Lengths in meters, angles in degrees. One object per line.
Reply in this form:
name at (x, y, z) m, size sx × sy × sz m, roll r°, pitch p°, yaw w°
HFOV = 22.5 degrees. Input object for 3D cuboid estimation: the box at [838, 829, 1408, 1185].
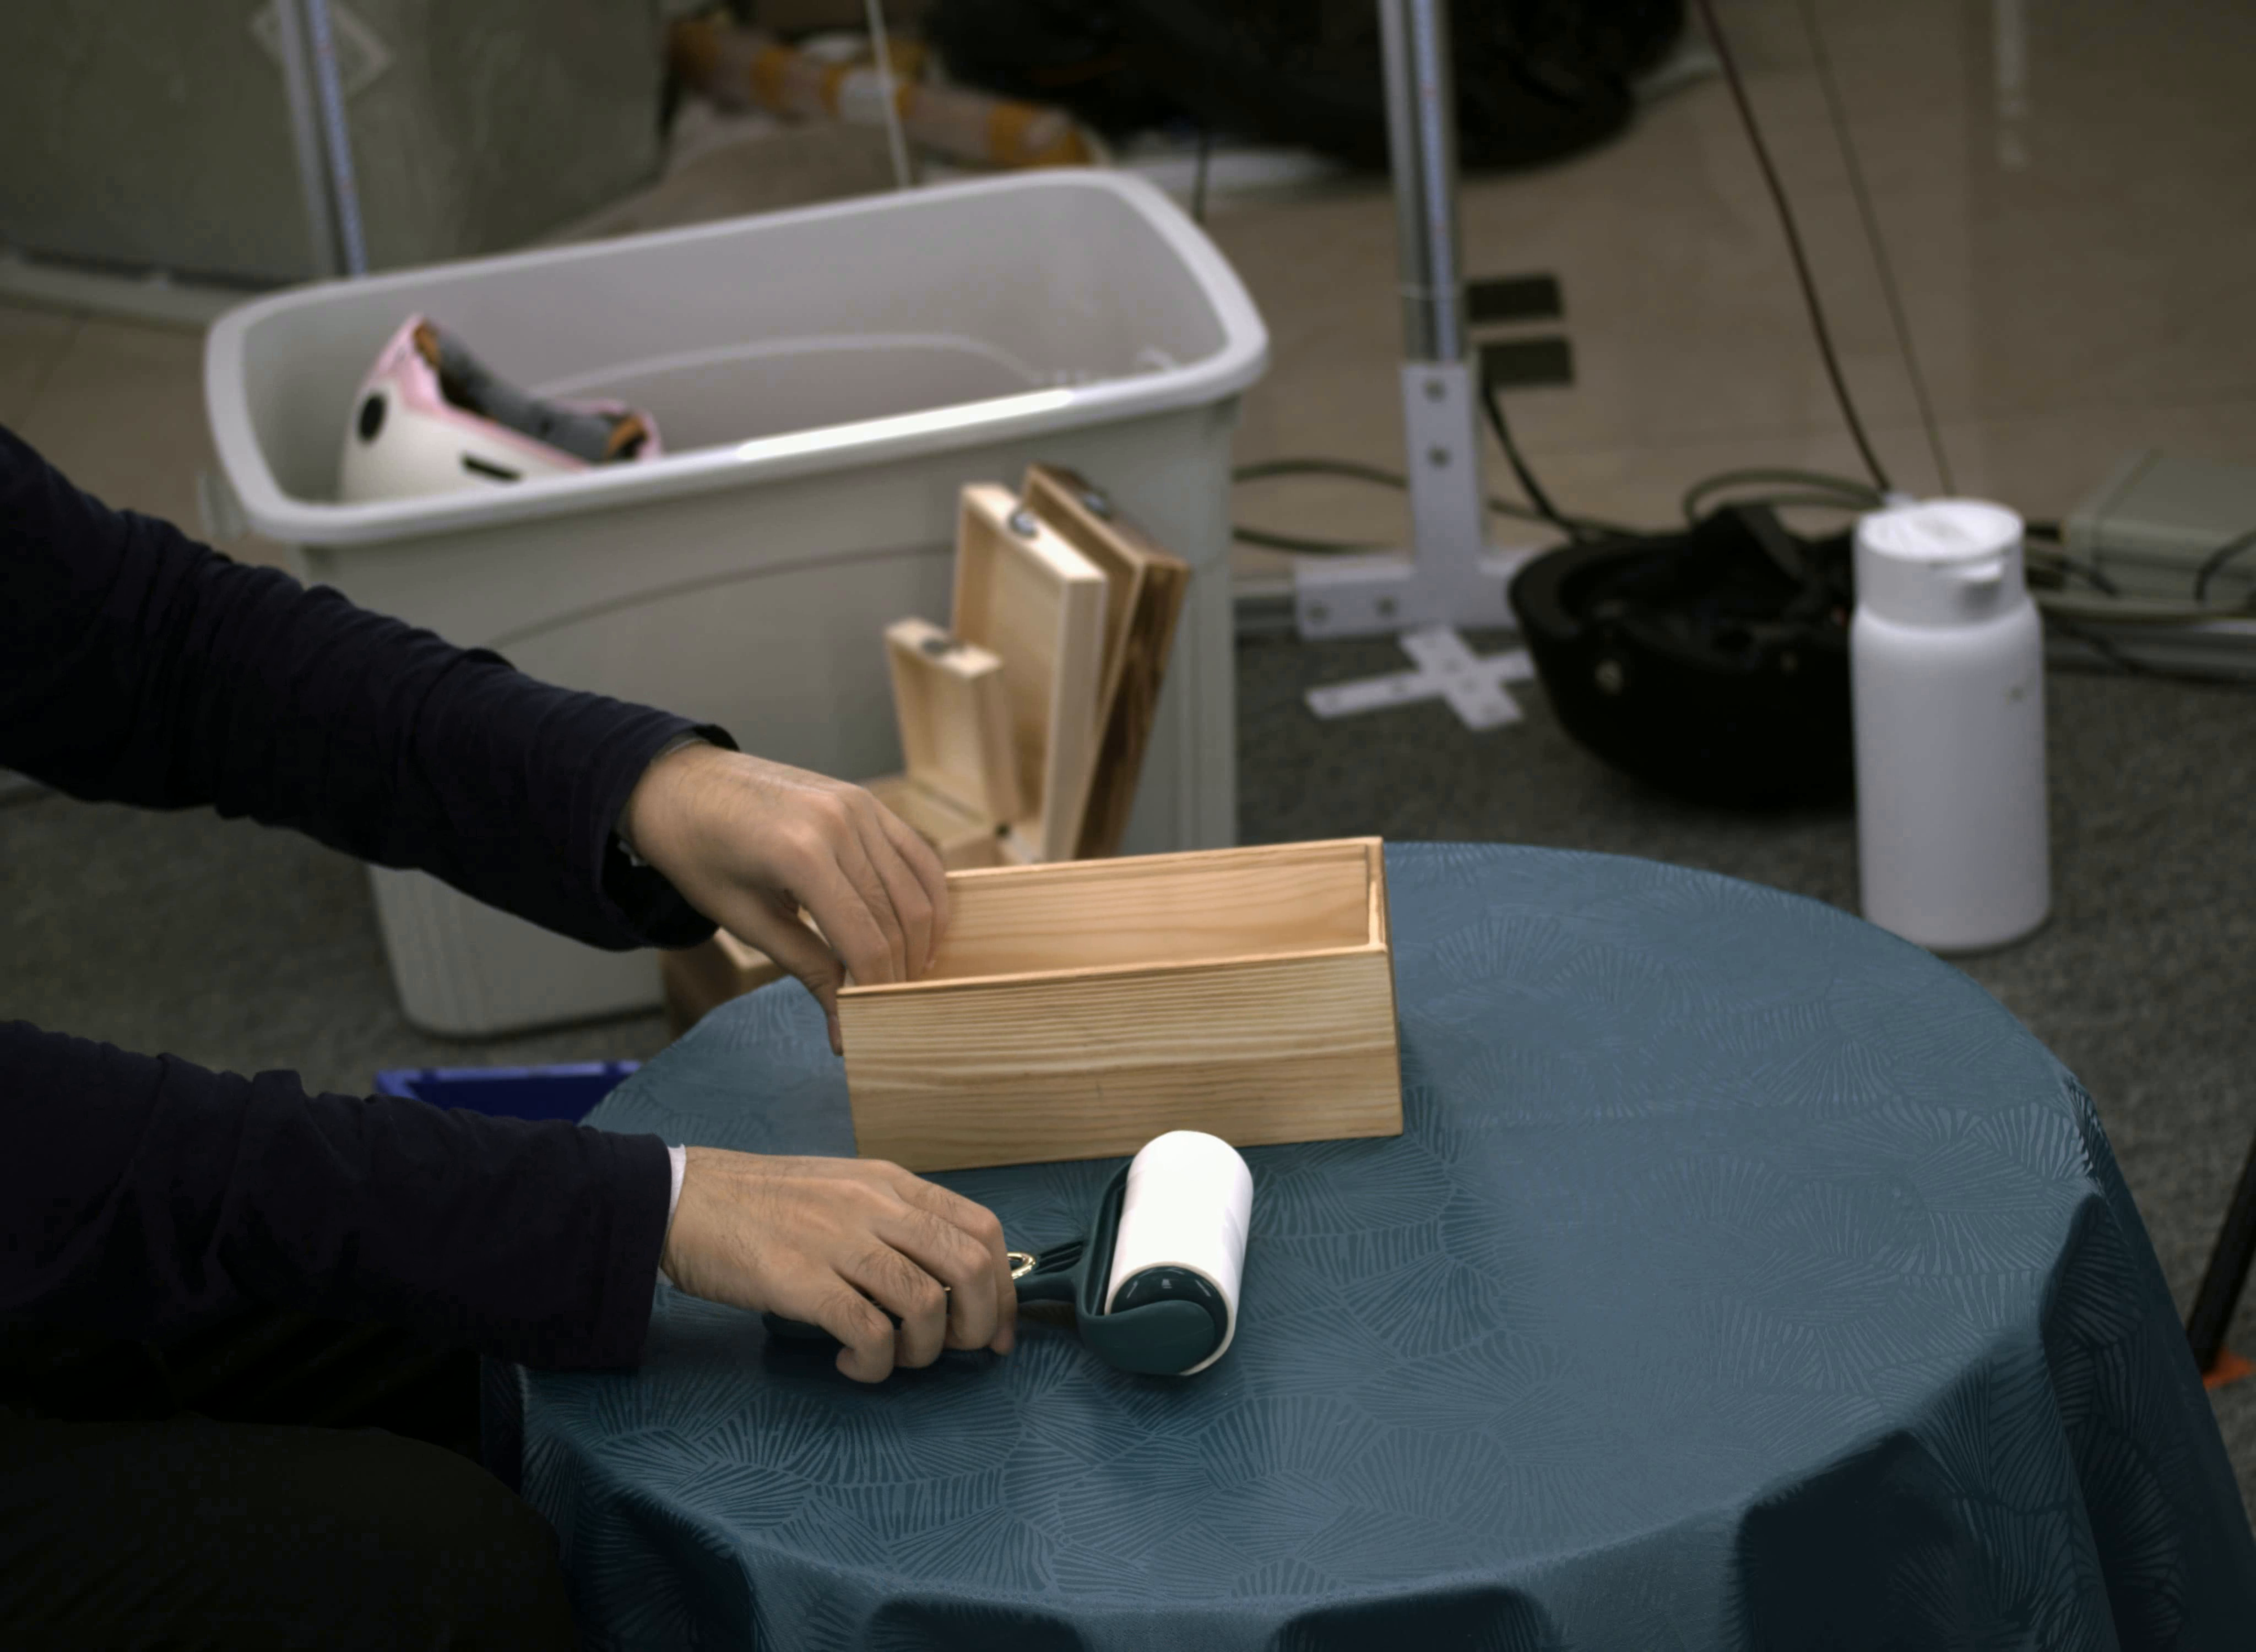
box at (0.000, 0.070, 2.206) m, size 0.211 × 0.081 × 0.106 m, roll -6°, pitch 26°, yaw 4°

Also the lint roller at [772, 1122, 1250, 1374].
lint roller at (-0.047, 0.163, 2.067) m, size 0.180 × 0.049 × 0.132 m, roll -8°, pitch 25°, yaw 9°
